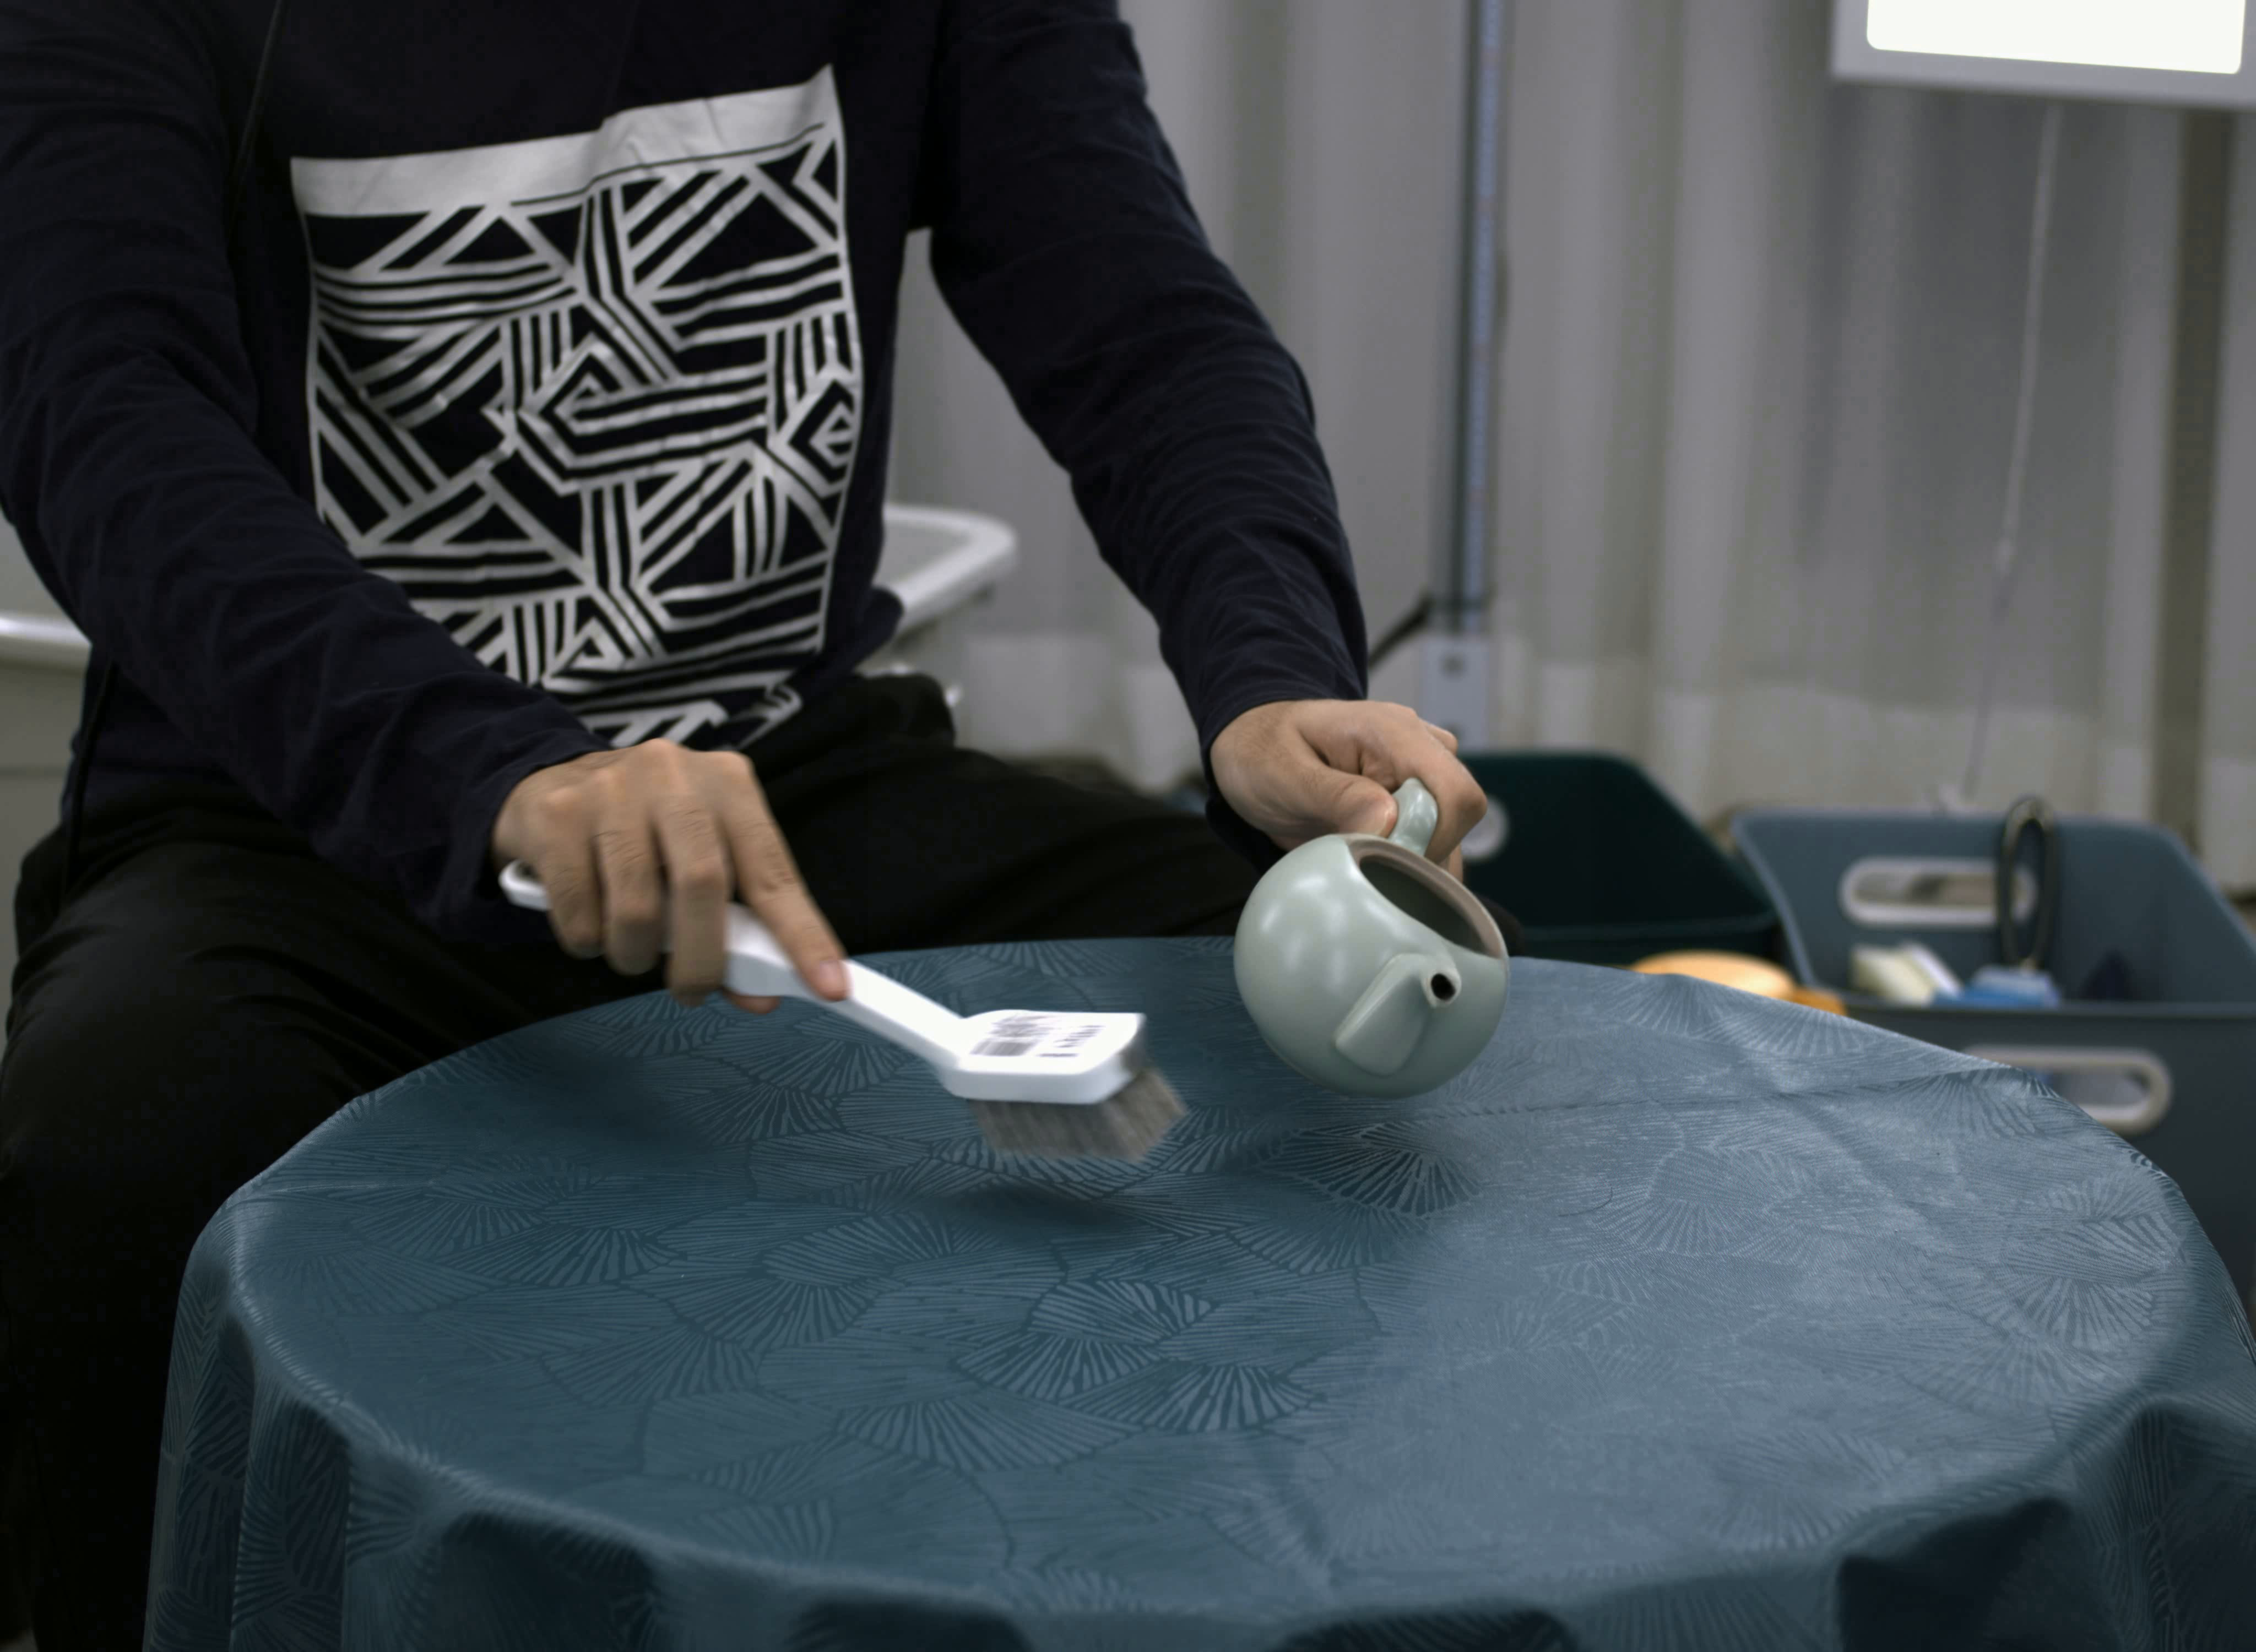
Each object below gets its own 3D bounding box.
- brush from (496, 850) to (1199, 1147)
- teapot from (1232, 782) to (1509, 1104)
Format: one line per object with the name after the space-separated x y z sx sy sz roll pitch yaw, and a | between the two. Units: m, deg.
-0.090 0.055 1.640 0.241 0.051 0.034 14 44 23 | brush
0.076 0.044 1.649 0.089 0.075 0.143 29 24 -12 | teapot
